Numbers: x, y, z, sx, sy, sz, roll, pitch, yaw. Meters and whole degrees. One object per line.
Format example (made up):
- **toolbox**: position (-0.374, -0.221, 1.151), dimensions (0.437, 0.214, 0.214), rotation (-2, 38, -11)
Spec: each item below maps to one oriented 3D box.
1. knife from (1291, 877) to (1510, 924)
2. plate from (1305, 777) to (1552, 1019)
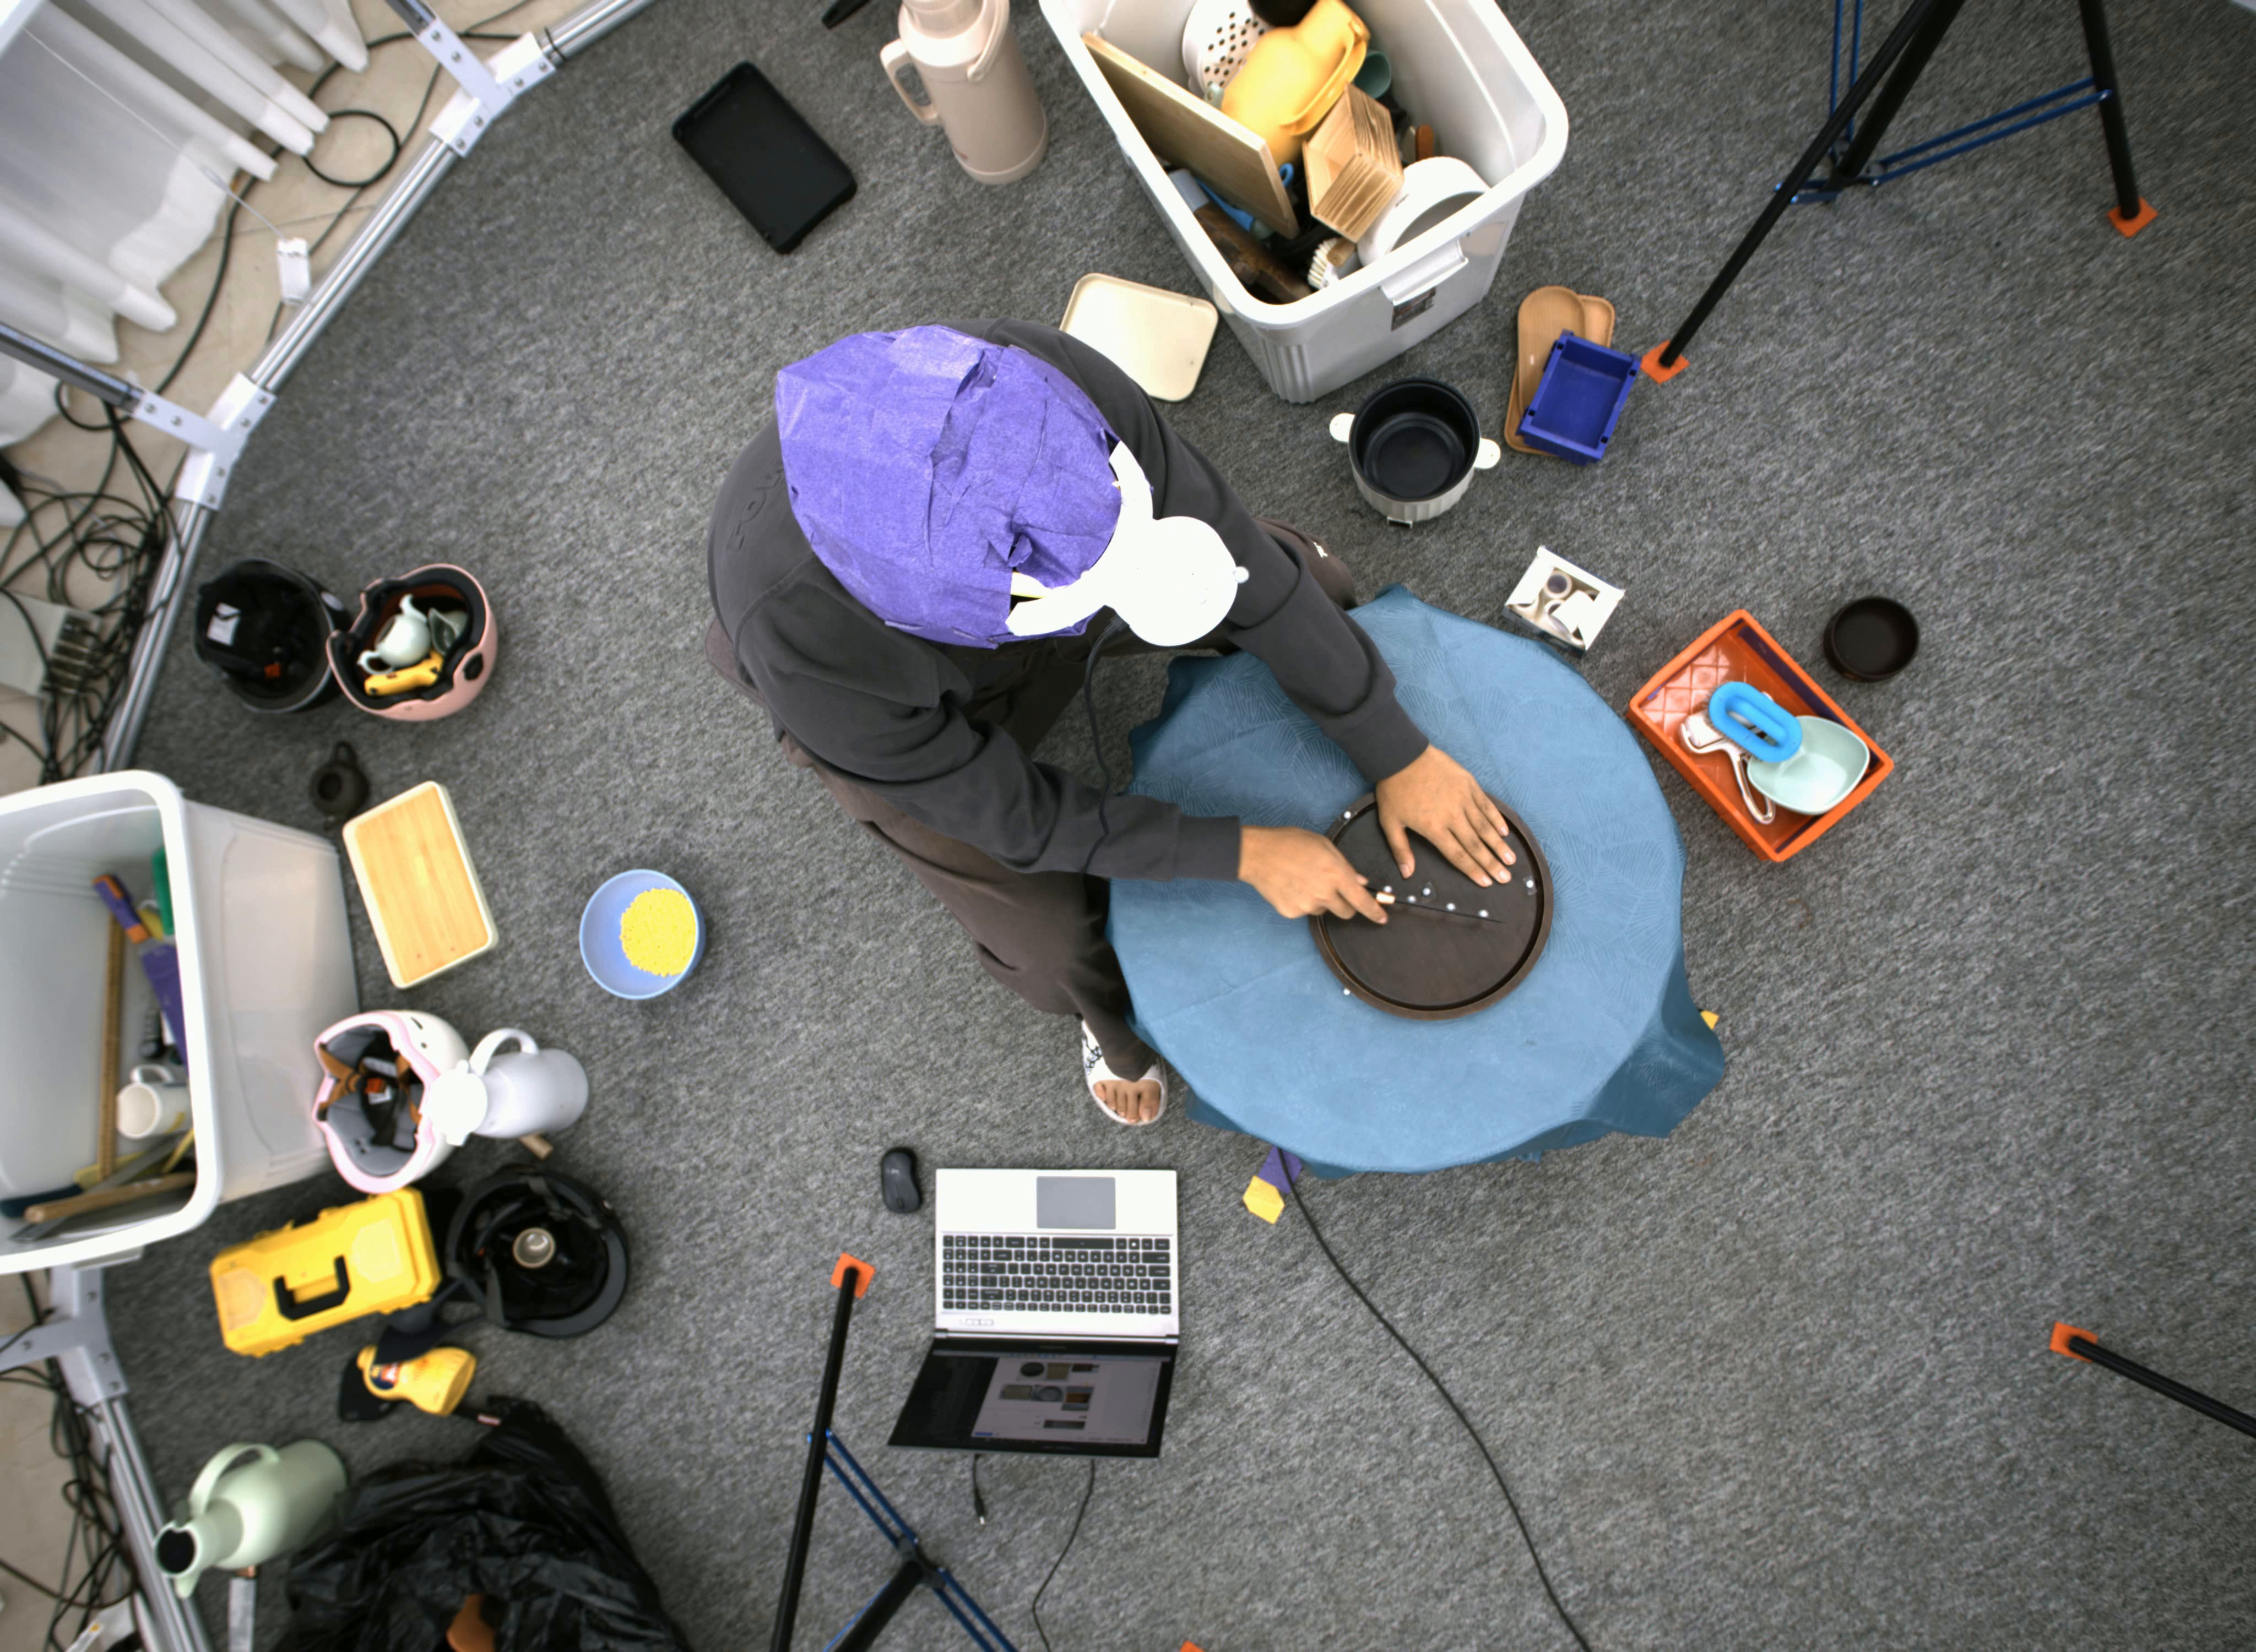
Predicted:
- **knife**: position (0.278, 0.077, 1.413), dimensions (0.226, 0.026, 0.017), rotation (10, 82, 12)
- **plate**: position (0.313, 0.073, 1.441), dimensions (0.256, 0.029, 0.253), rotation (-1, 86, 12)
